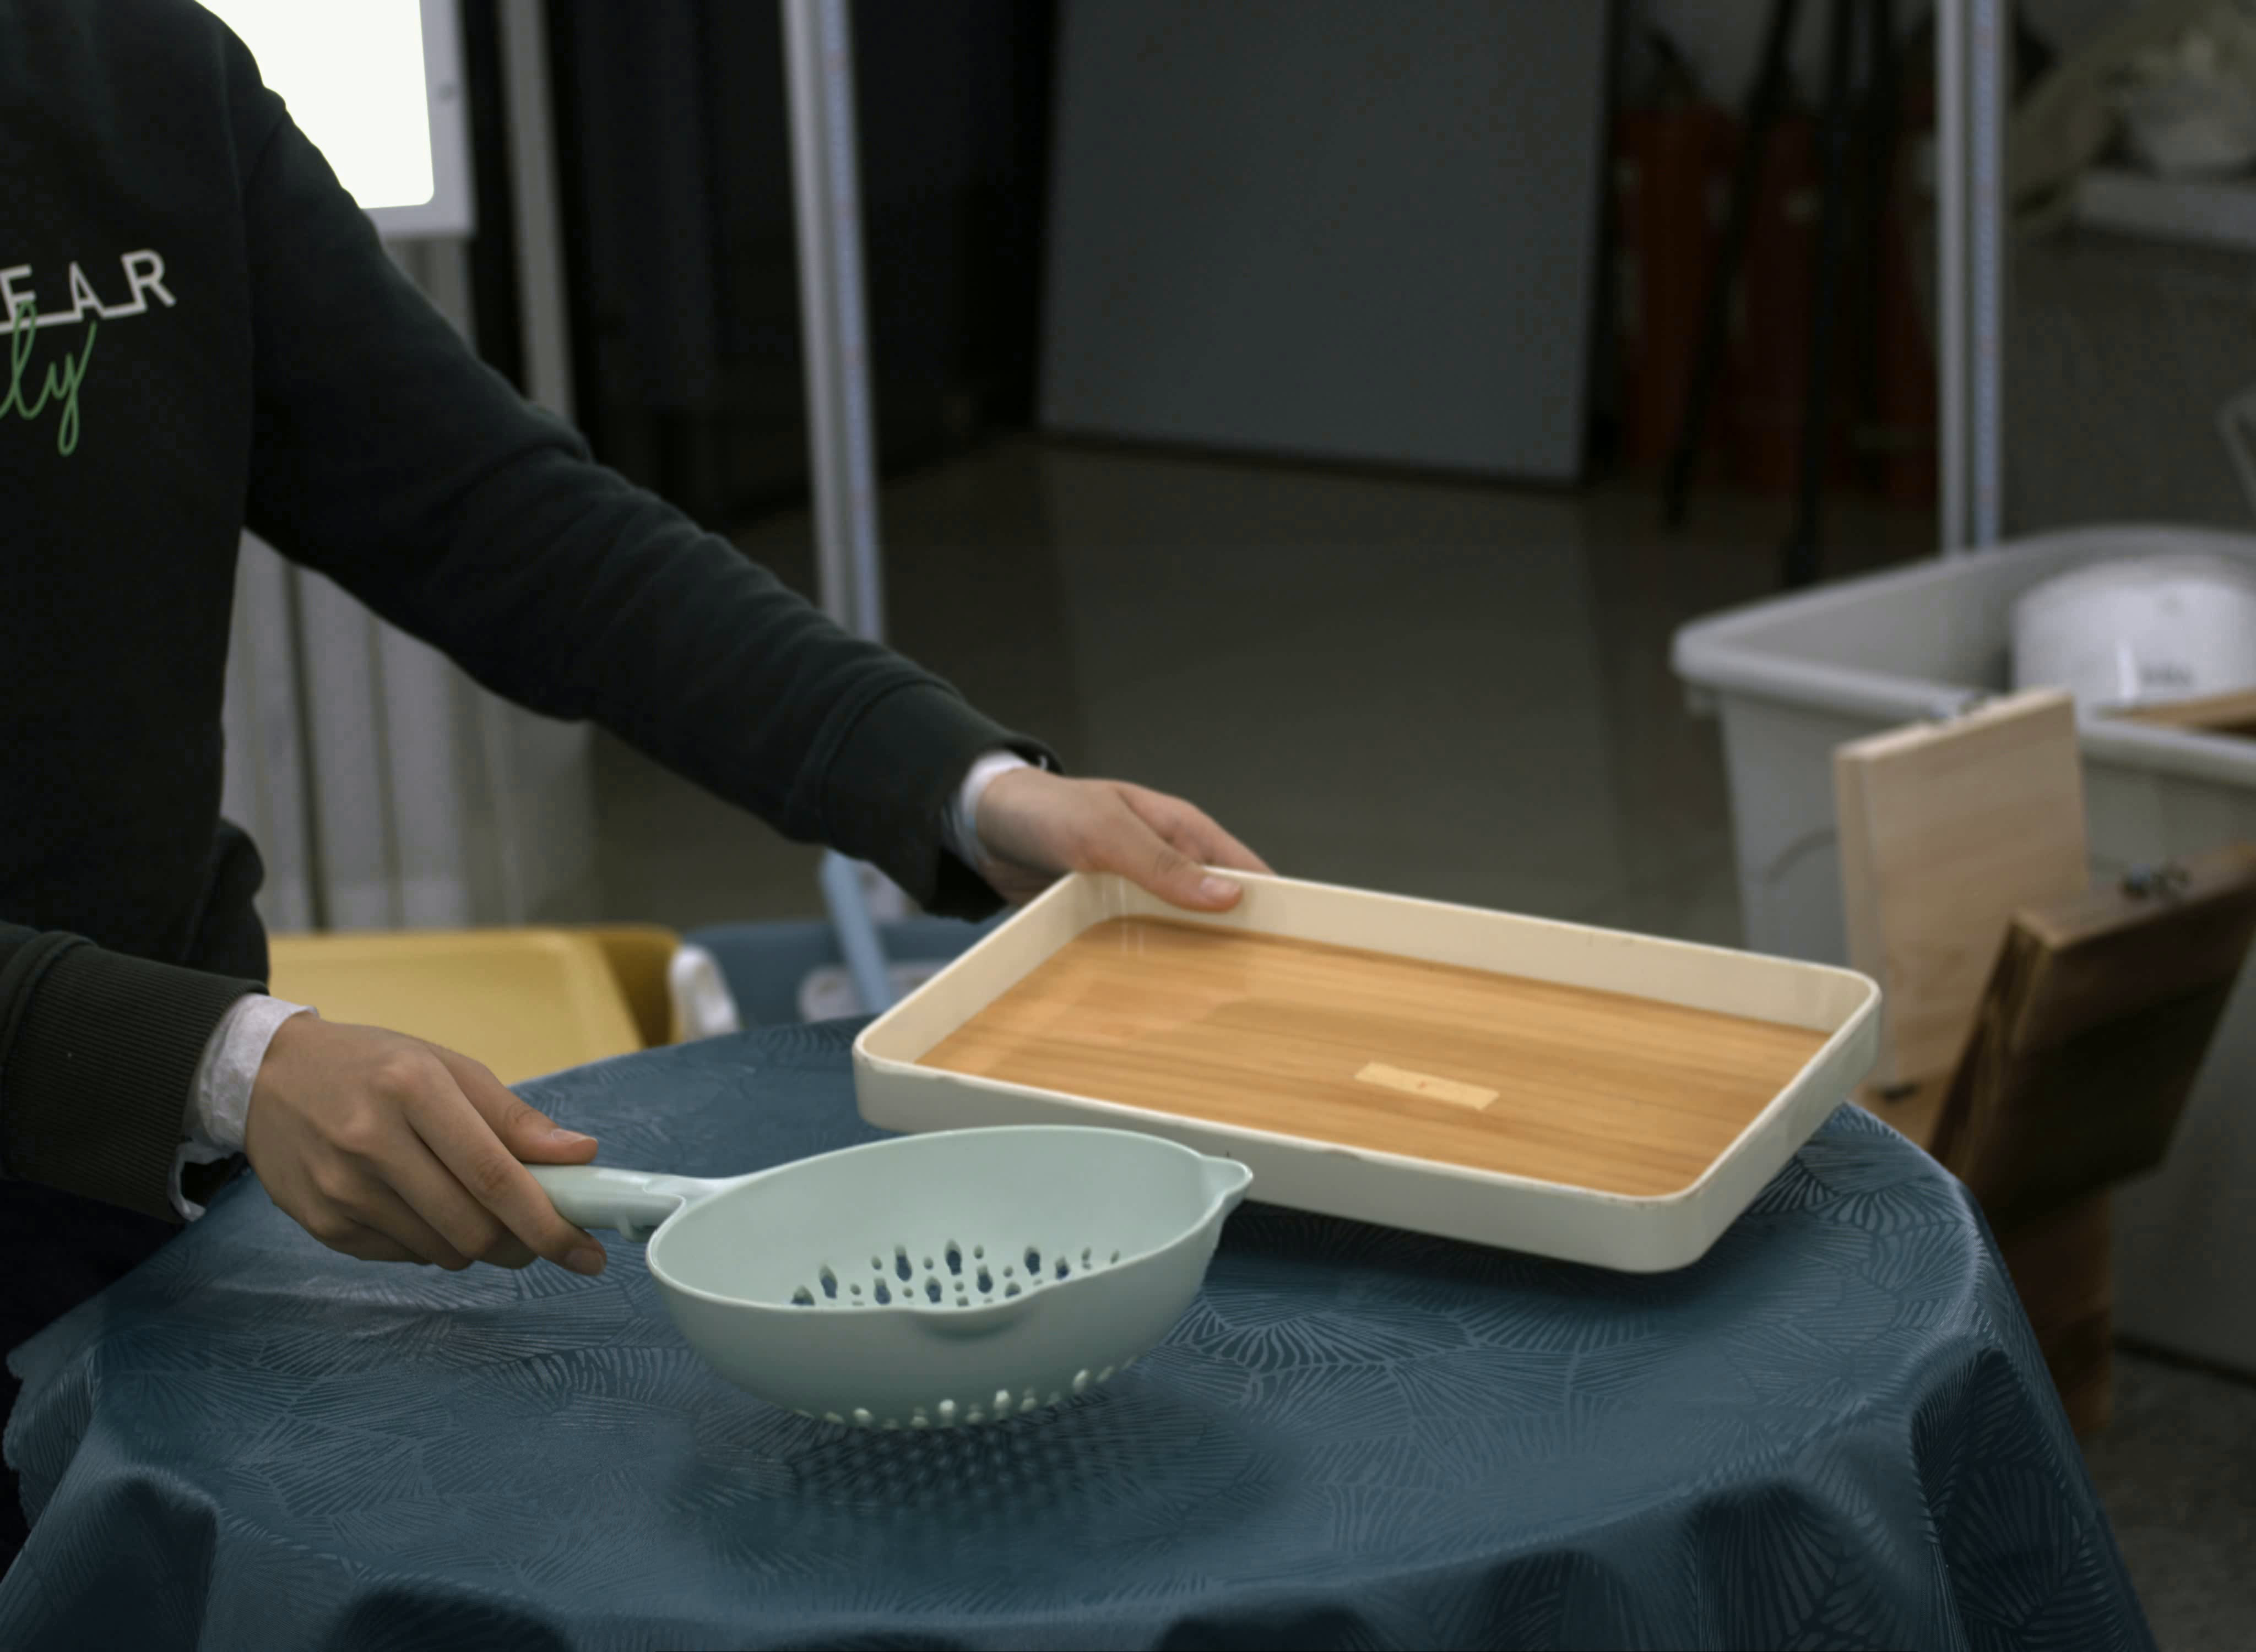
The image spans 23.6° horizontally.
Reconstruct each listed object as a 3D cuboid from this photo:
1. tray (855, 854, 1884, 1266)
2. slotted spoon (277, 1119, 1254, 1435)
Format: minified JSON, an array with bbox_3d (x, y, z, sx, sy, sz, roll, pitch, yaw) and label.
[{"bbox_3d":[0.079,0.072,1.756,0.301,0.027,0.189,9,25,28],"label":"tray"},{"bbox_3d":[-0.129,0.119,1.614,0.361,0.076,0.166,13,22,37],"label":"slotted spoon"}]
